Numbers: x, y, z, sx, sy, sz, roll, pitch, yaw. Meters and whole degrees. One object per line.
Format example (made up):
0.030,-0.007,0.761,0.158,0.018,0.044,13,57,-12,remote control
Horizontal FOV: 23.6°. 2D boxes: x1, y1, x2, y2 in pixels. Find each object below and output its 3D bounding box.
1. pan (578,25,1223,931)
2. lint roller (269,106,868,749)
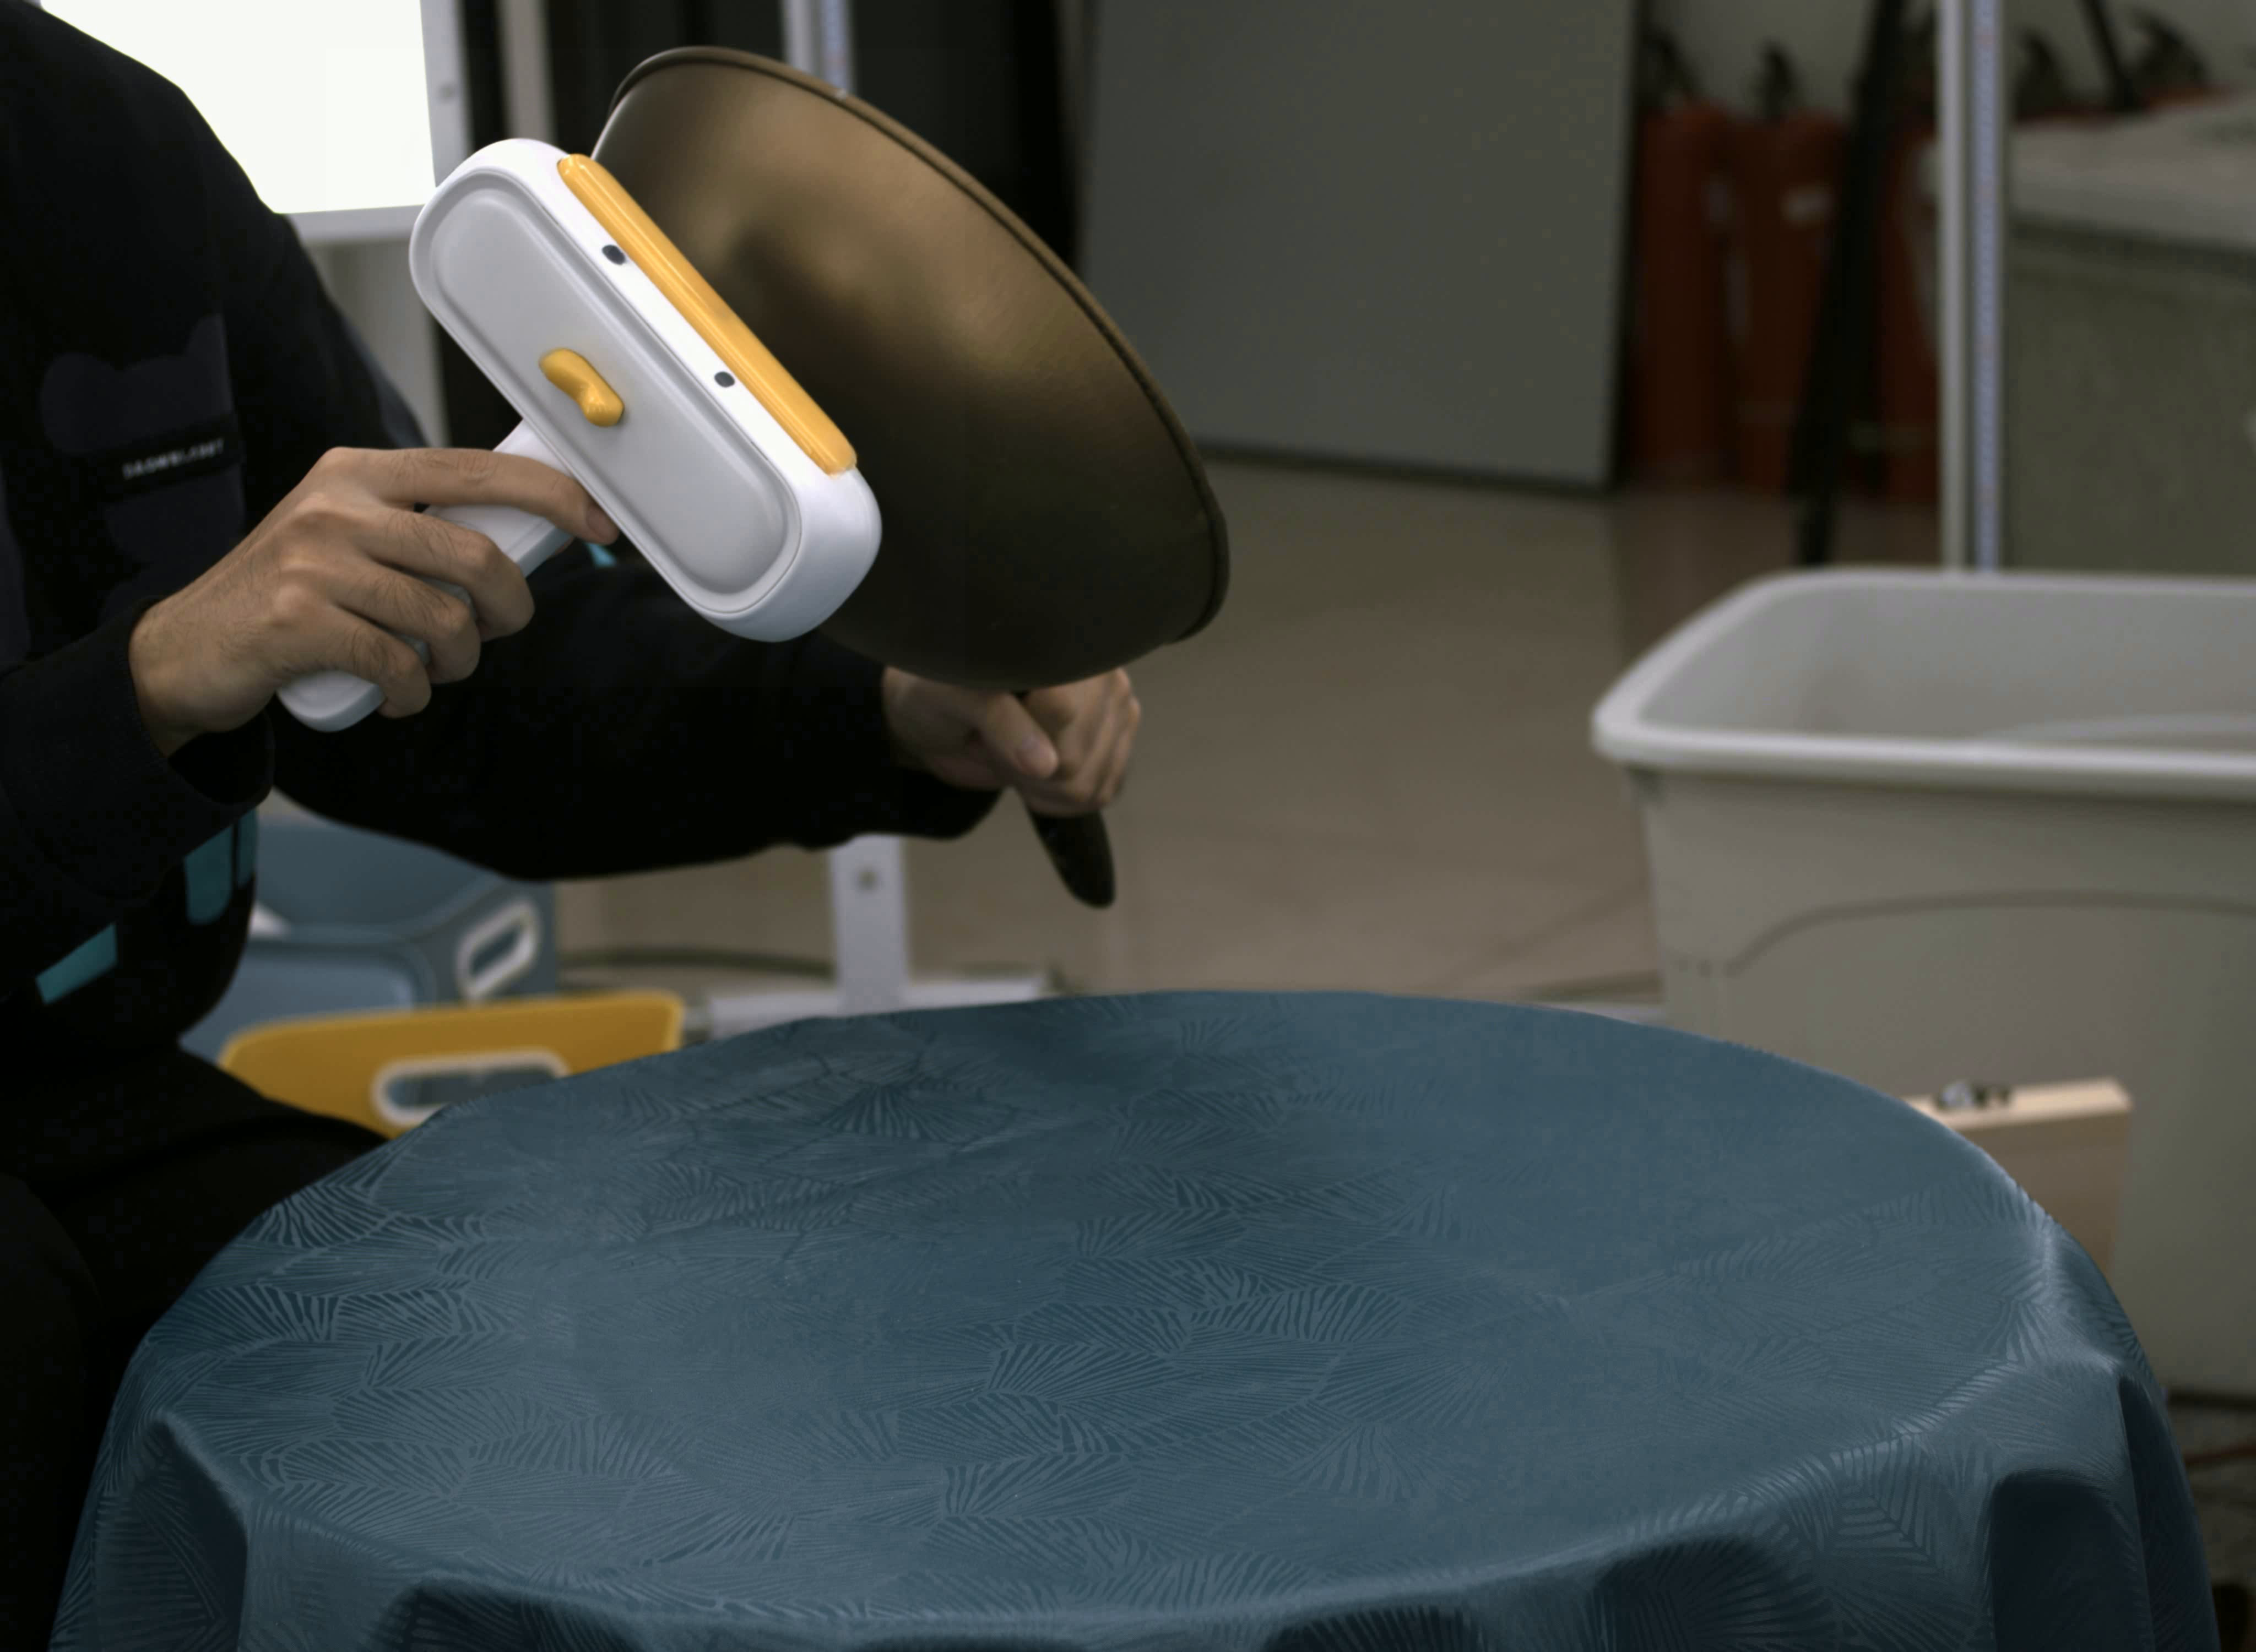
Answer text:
-0.080,-0.087,1.959,0.290,0.462,0.086,29,64,32,pan
-0.201,-0.105,1.743,0.193,0.193,0.073,43,13,12,lint roller
